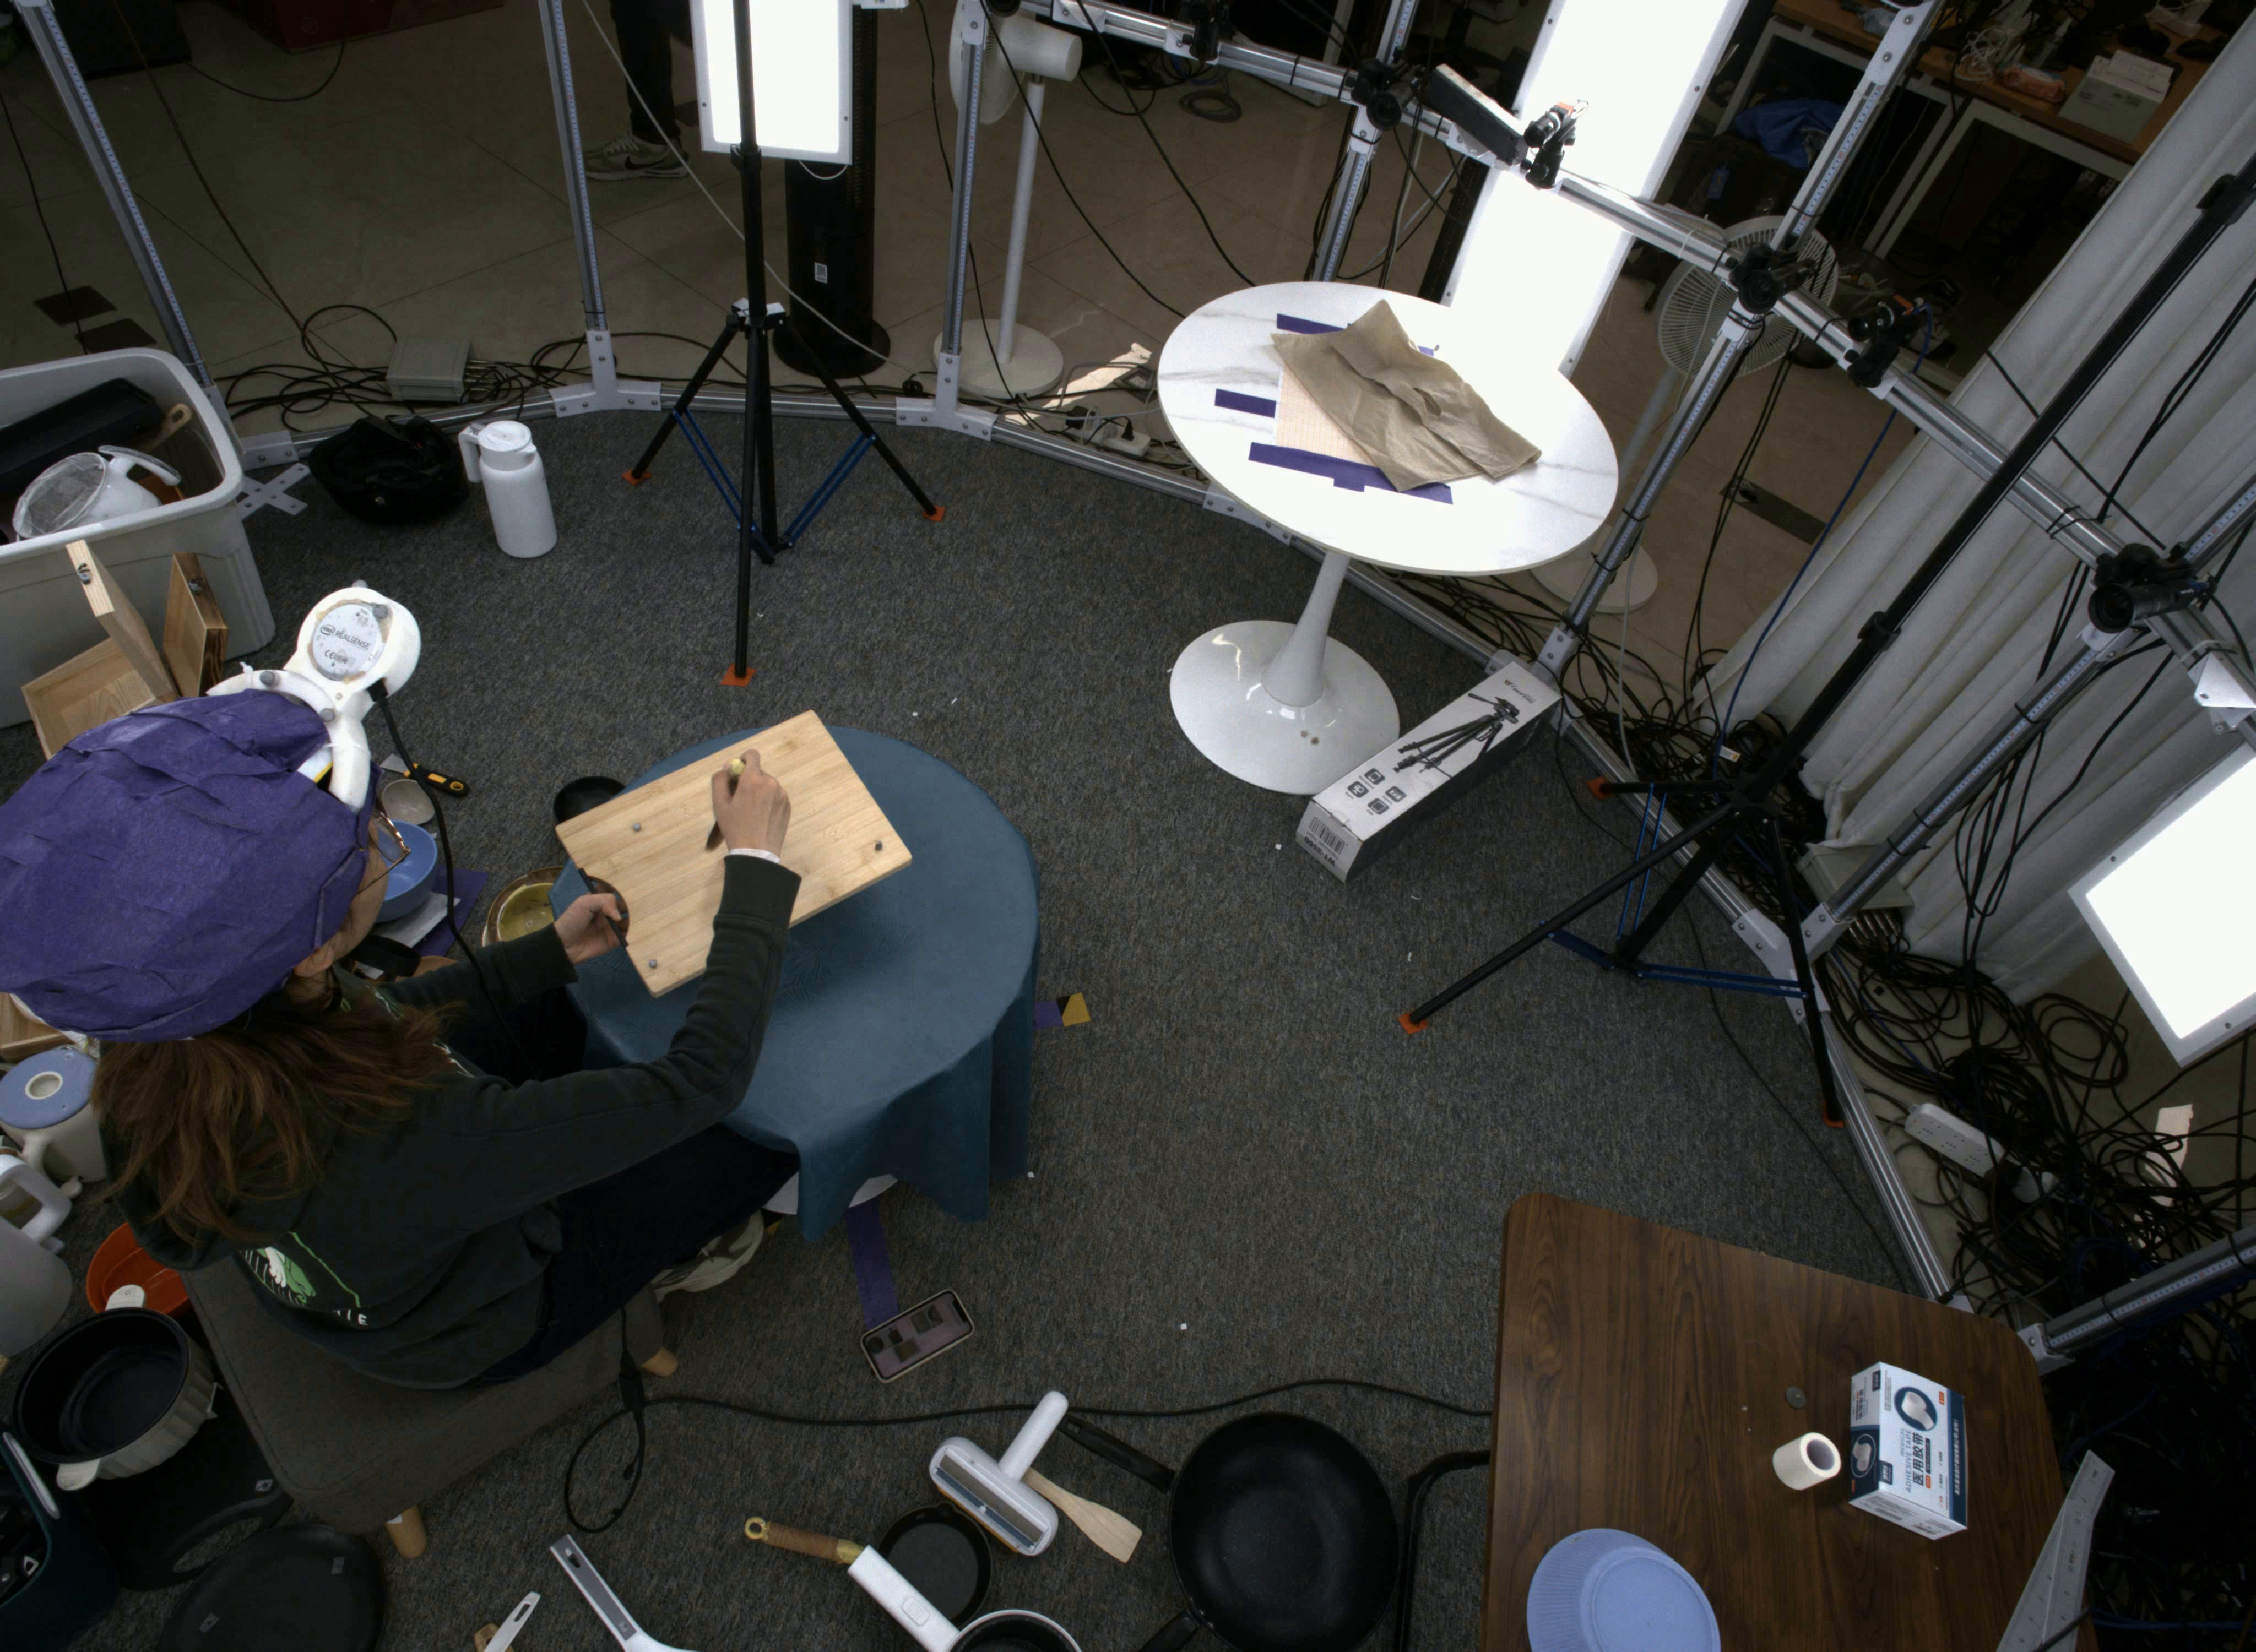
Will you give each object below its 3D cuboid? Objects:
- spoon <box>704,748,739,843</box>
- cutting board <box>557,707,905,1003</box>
[{"bbox_3d":[-0.433,-0.035,1.390,0.017,0.215,0.075,25,65,-10],"label":"spoon"},{"bbox_3d":[-0.470,0.023,1.529,0.349,0.024,0.247,-31,76,-27],"label":"cutting board"}]
